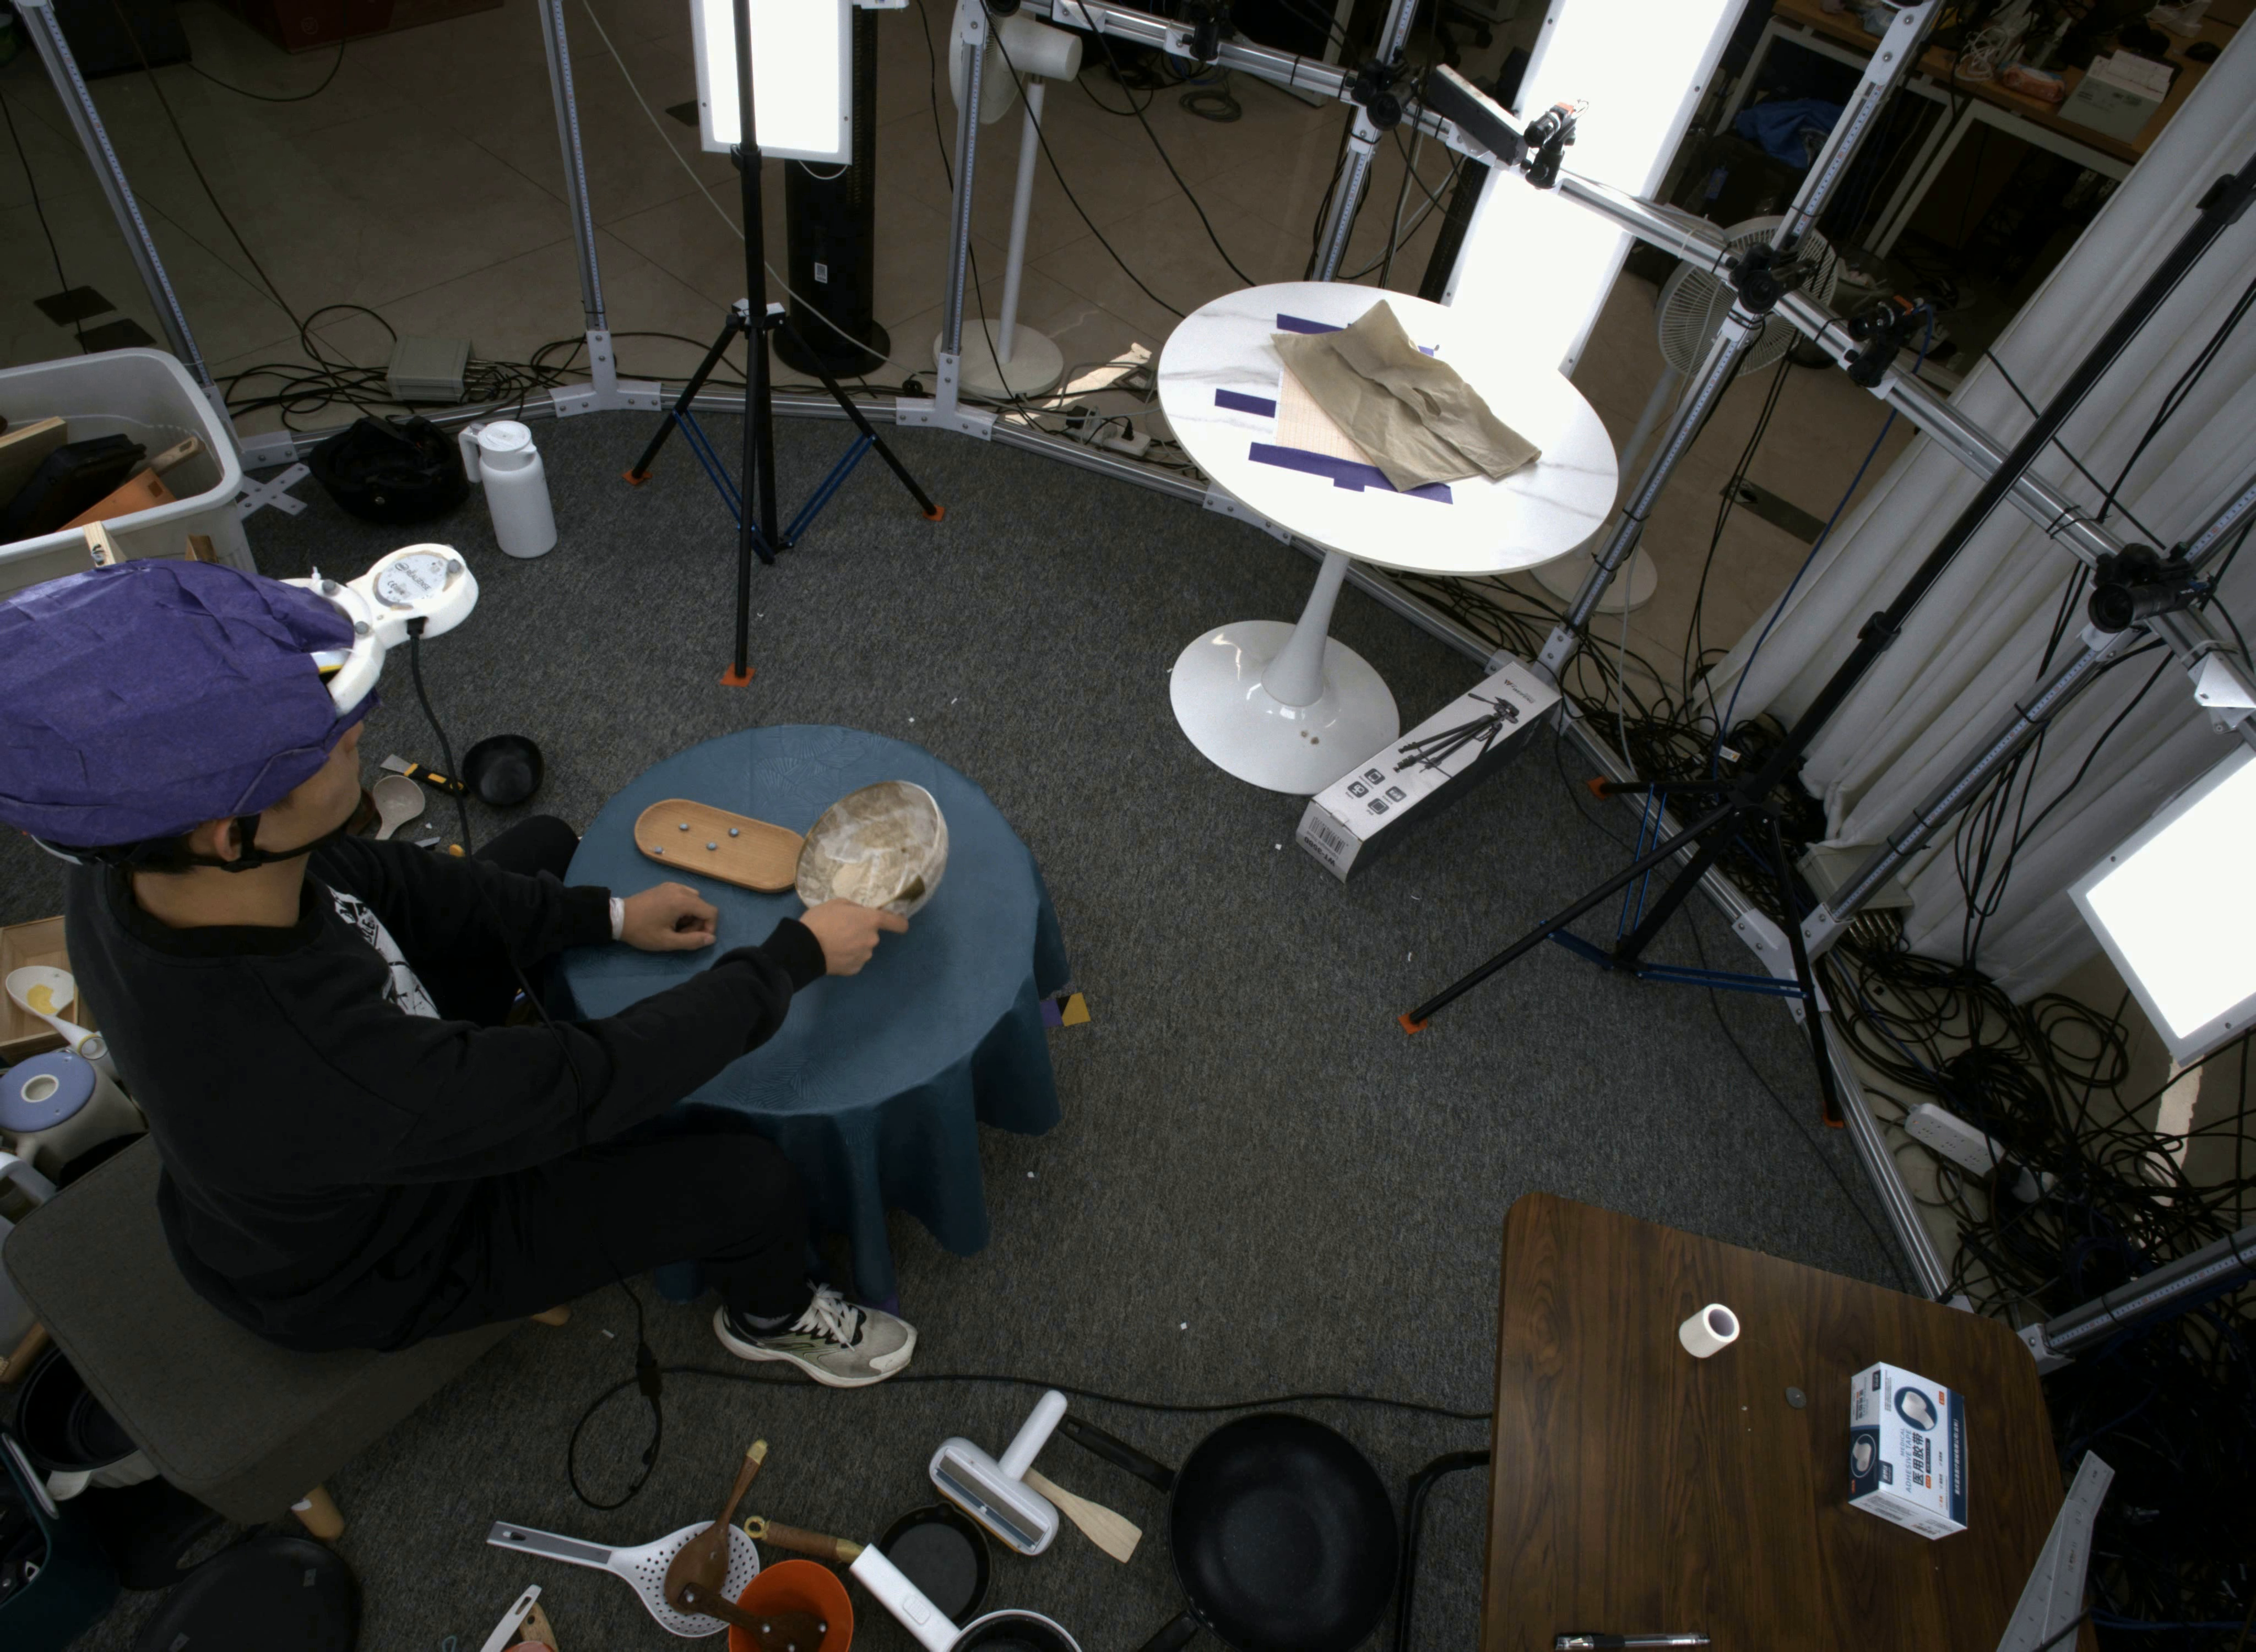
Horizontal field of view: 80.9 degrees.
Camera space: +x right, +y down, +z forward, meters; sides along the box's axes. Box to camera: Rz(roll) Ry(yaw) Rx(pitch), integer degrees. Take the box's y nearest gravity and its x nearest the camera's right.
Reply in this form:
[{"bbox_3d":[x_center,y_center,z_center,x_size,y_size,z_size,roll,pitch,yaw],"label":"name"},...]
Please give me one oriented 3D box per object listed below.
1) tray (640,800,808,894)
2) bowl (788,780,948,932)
[{"bbox_3d":[-0.520,0.026,1.675,0.230,0.020,0.100,16,54,-5],"label":"tray"},{"bbox_3d":[-0.308,0.051,1.619,0.210,0.098,0.211,-10,54,16],"label":"bowl"}]
